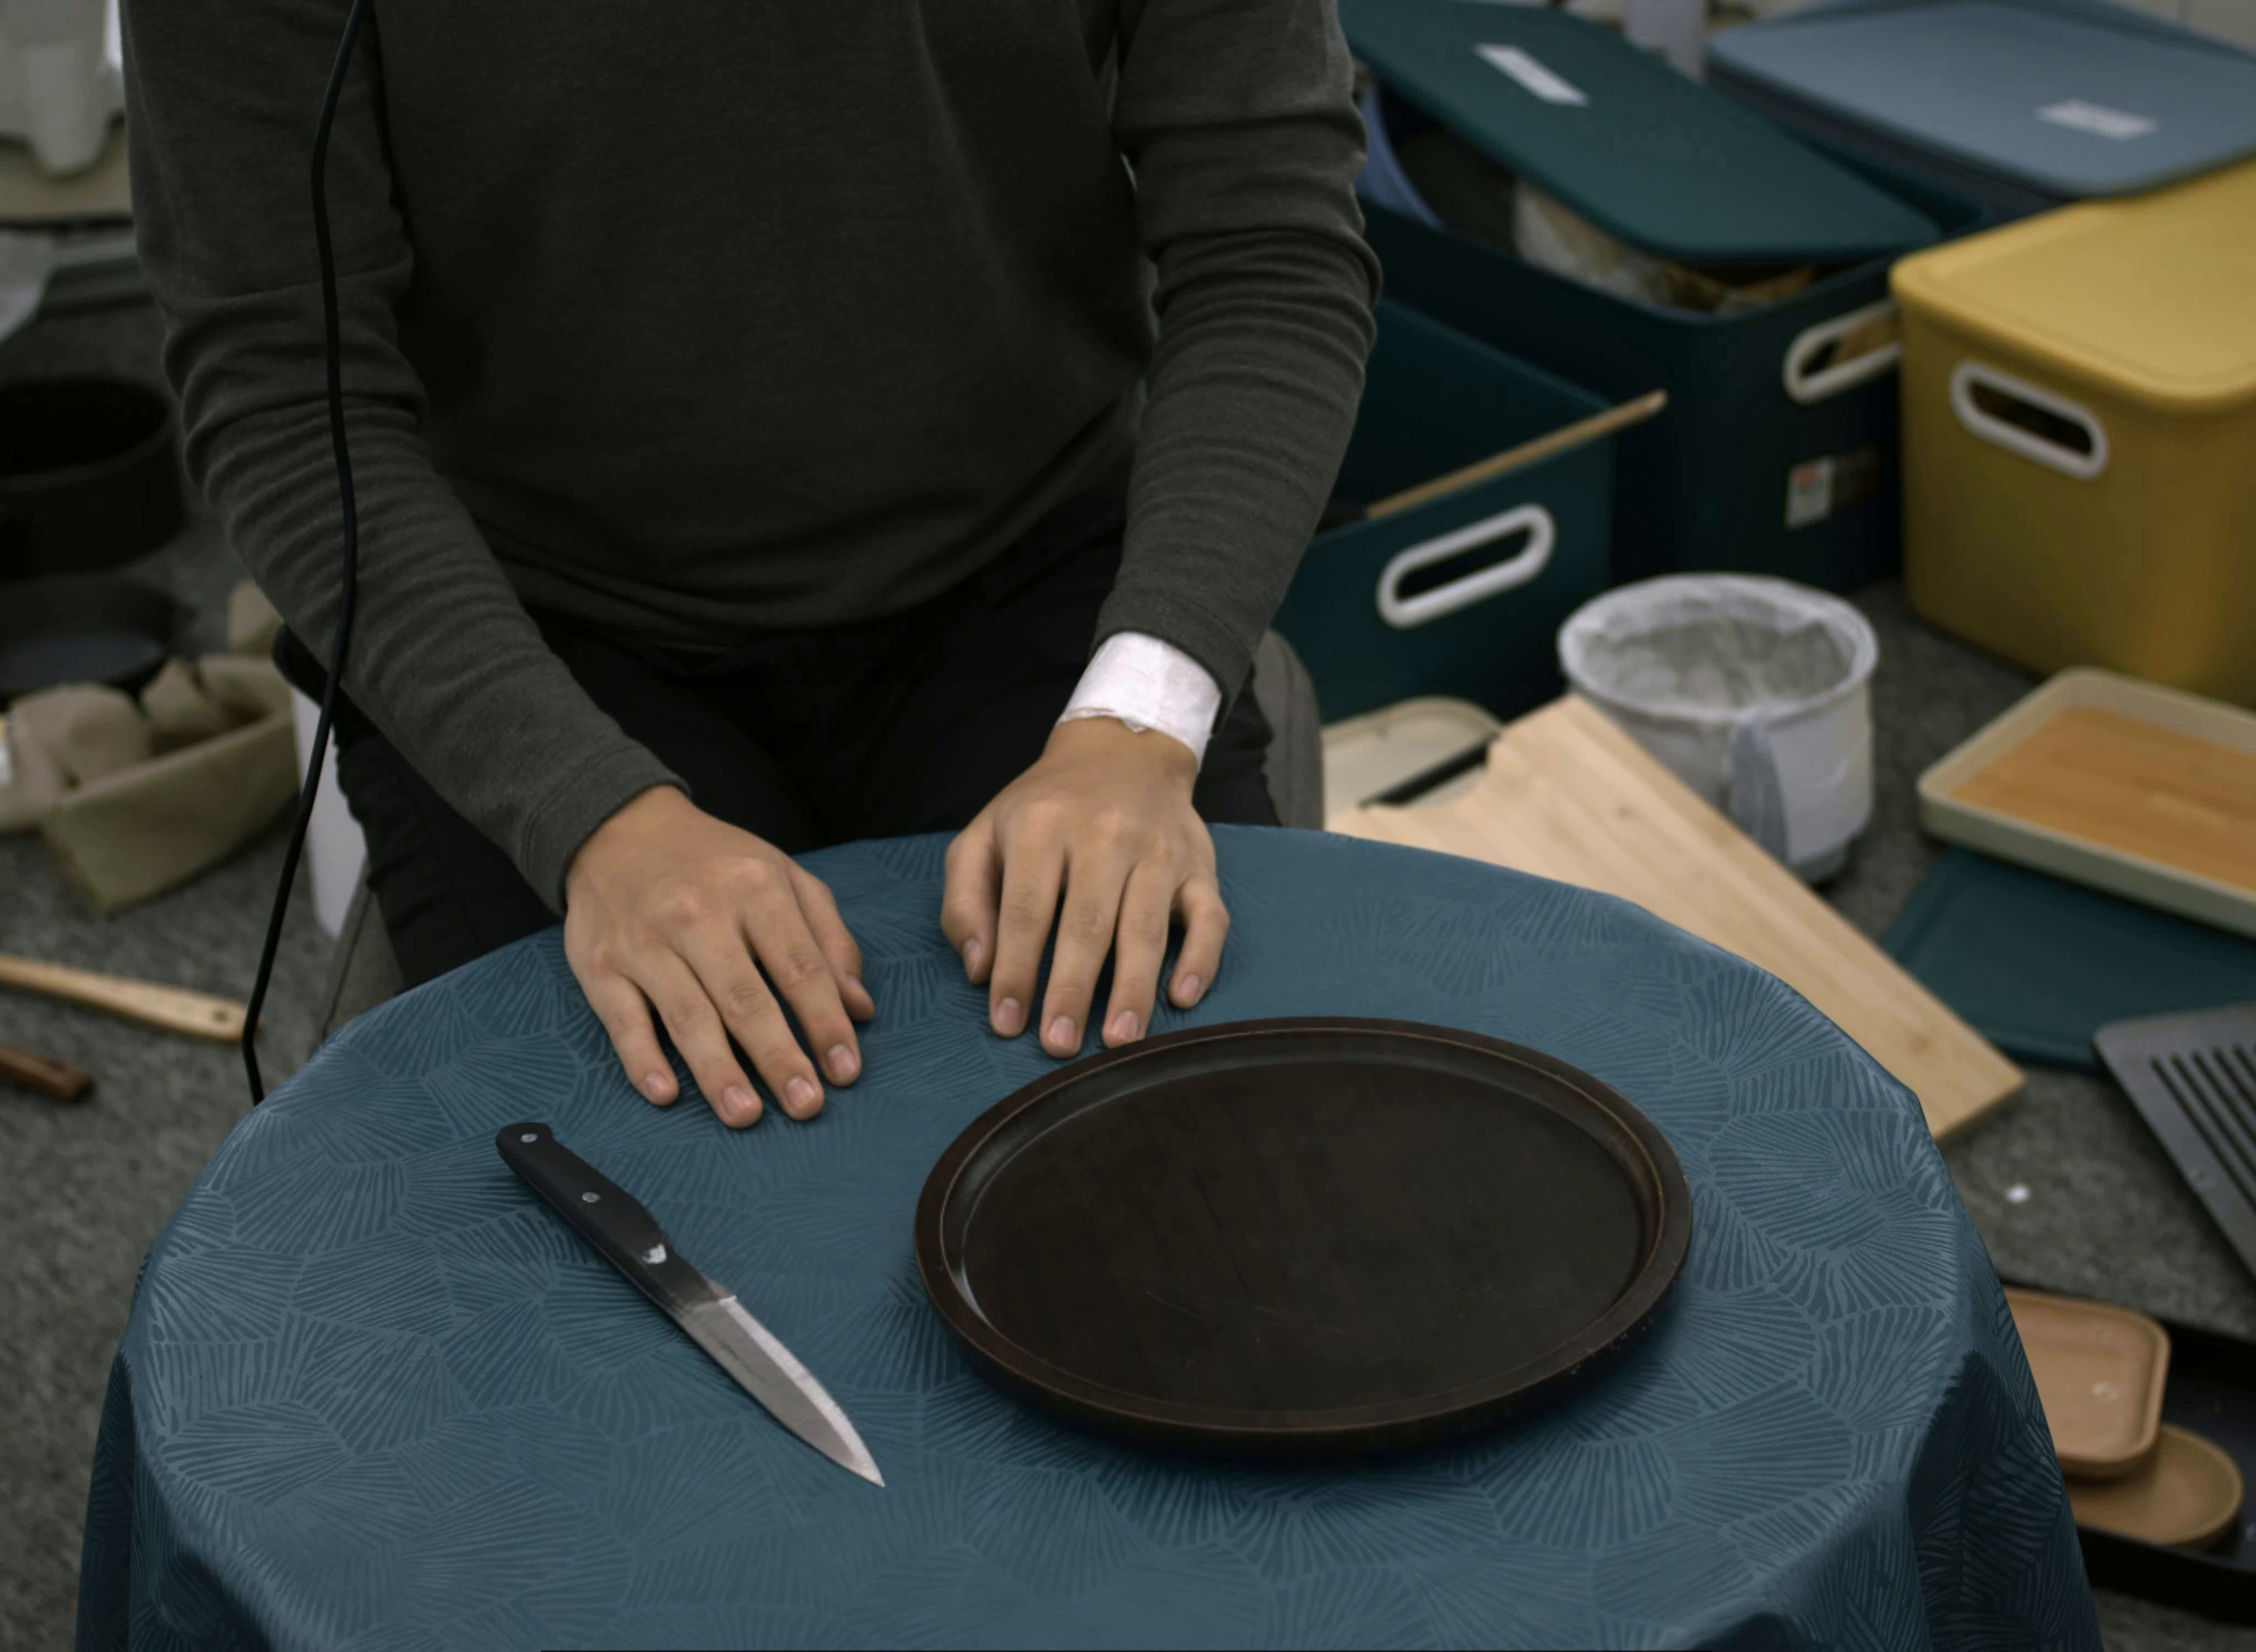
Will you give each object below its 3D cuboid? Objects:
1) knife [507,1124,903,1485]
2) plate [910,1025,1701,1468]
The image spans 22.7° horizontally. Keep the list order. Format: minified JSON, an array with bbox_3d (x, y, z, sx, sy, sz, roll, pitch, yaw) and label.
[{"bbox_3d":[-0.139,0.155,1.799,0.024,0.016,0.239,-21,35,-27],"label":"knife"},{"bbox_3d":[0.057,0.133,1.809,0.253,0.029,0.259,-1,28,1],"label":"plate"}]
